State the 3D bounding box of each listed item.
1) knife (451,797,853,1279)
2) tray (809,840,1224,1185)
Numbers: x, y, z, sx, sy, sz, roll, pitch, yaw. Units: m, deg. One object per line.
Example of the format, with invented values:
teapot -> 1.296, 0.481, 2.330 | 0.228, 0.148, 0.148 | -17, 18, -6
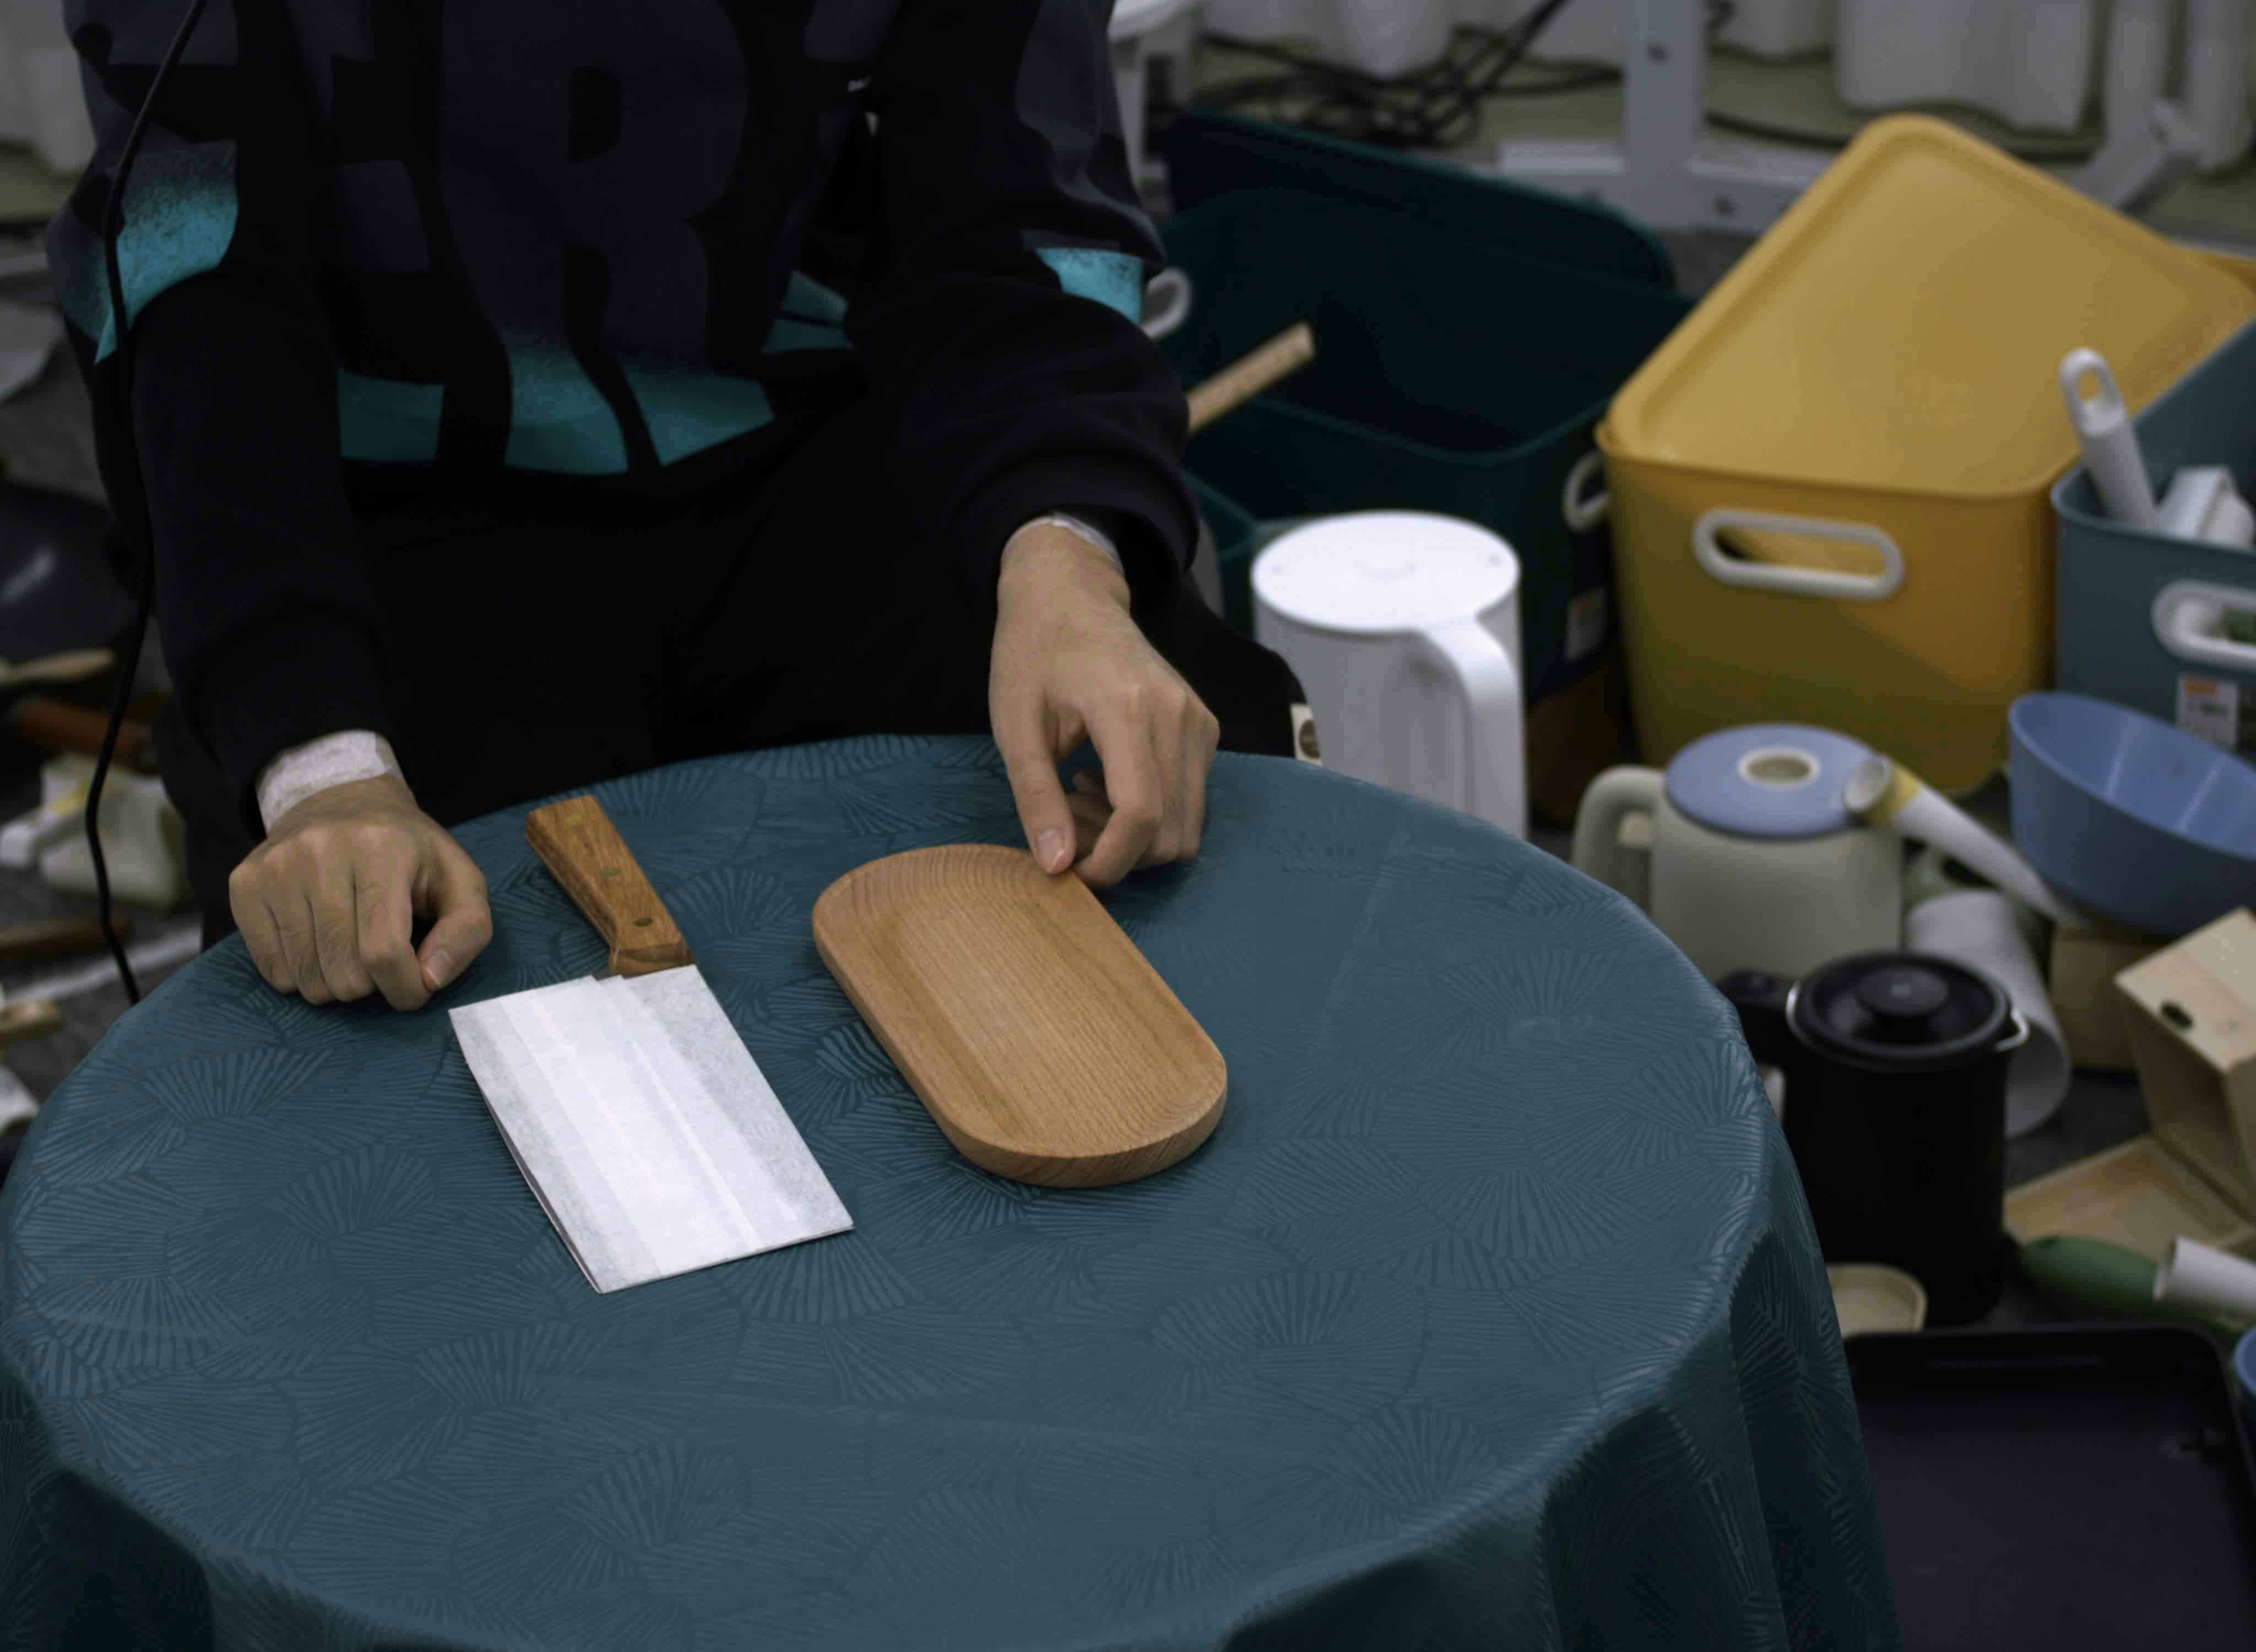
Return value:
knife -> -0.183, 0.073, 1.958 | 0.093, 0.021, 0.308 | -13, 32, -16
tray -> -0.041, 0.063, 1.960 | 0.102, 0.020, 0.233 | -11, 28, -17
